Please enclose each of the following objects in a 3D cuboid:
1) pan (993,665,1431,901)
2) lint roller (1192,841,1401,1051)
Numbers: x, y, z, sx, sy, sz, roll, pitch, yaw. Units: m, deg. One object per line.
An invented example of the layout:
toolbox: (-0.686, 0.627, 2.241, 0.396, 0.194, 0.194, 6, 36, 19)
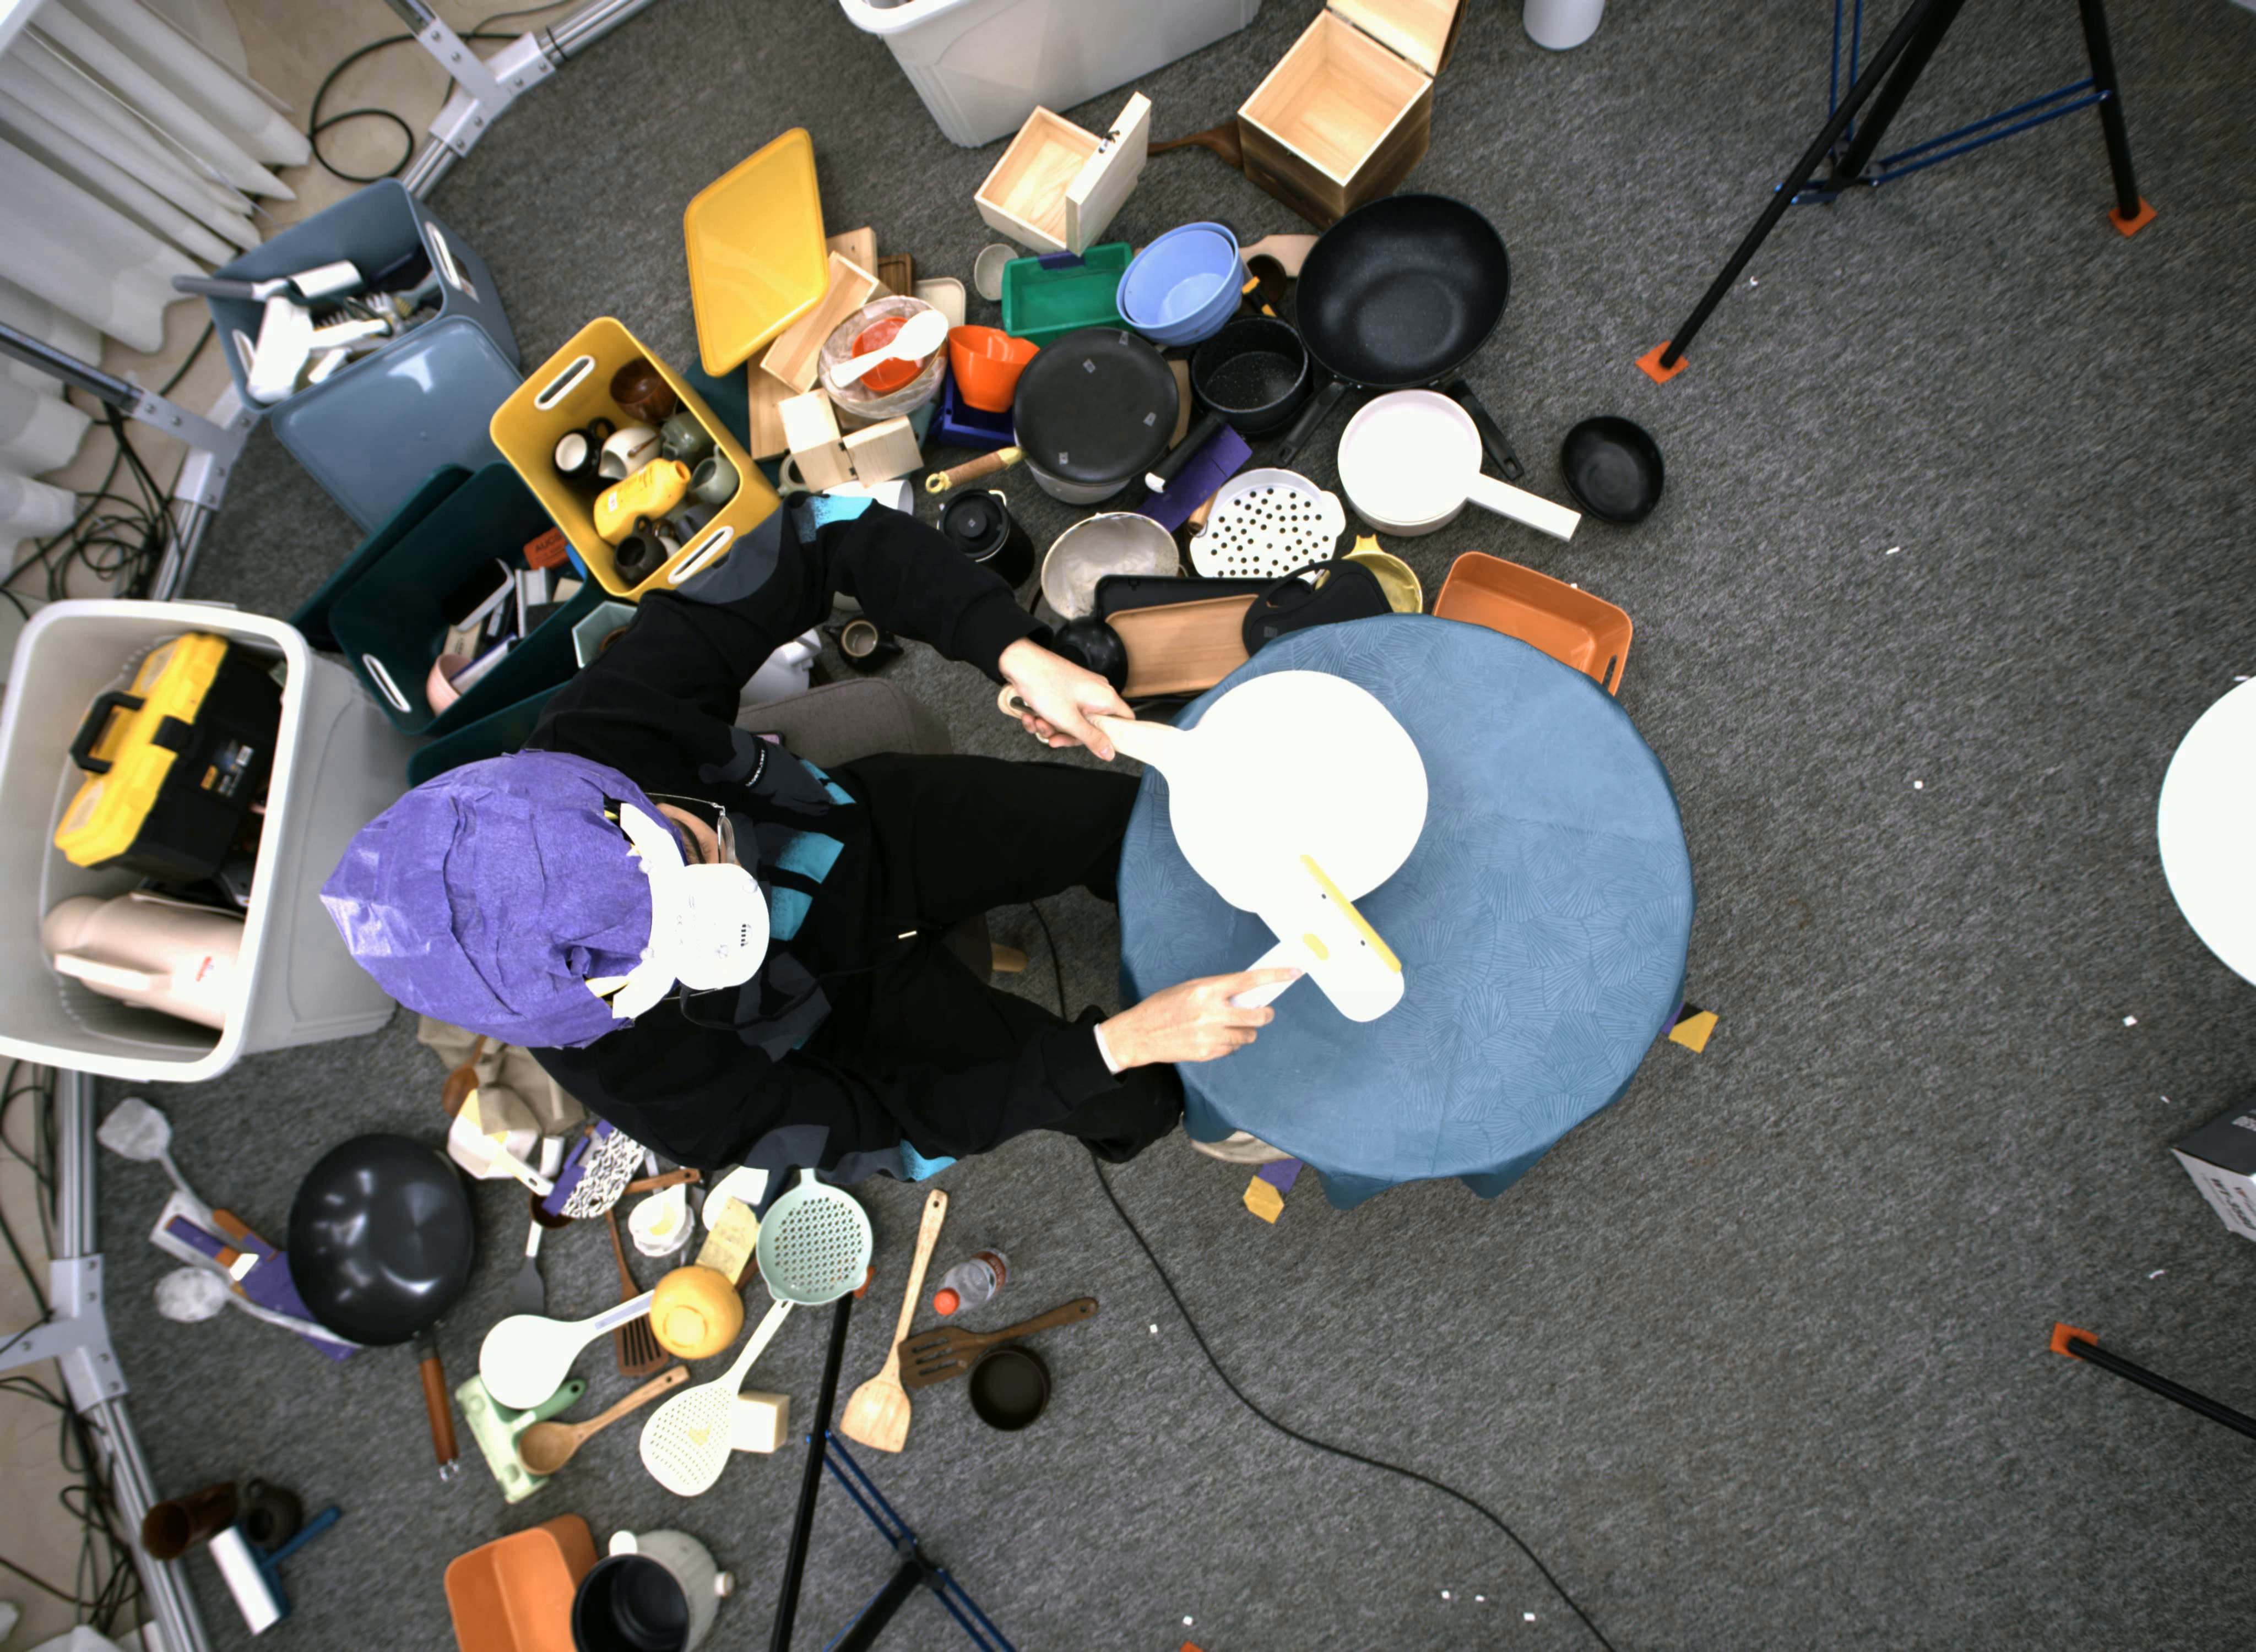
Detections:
pan: (0.083, -0.073, 1.353, 0.435, 0.099, 0.269, 20, 122, -8)
lint roller: (0.137, 0.138, 1.317, 0.193, 0.073, 0.195, 44, 108, -9)
